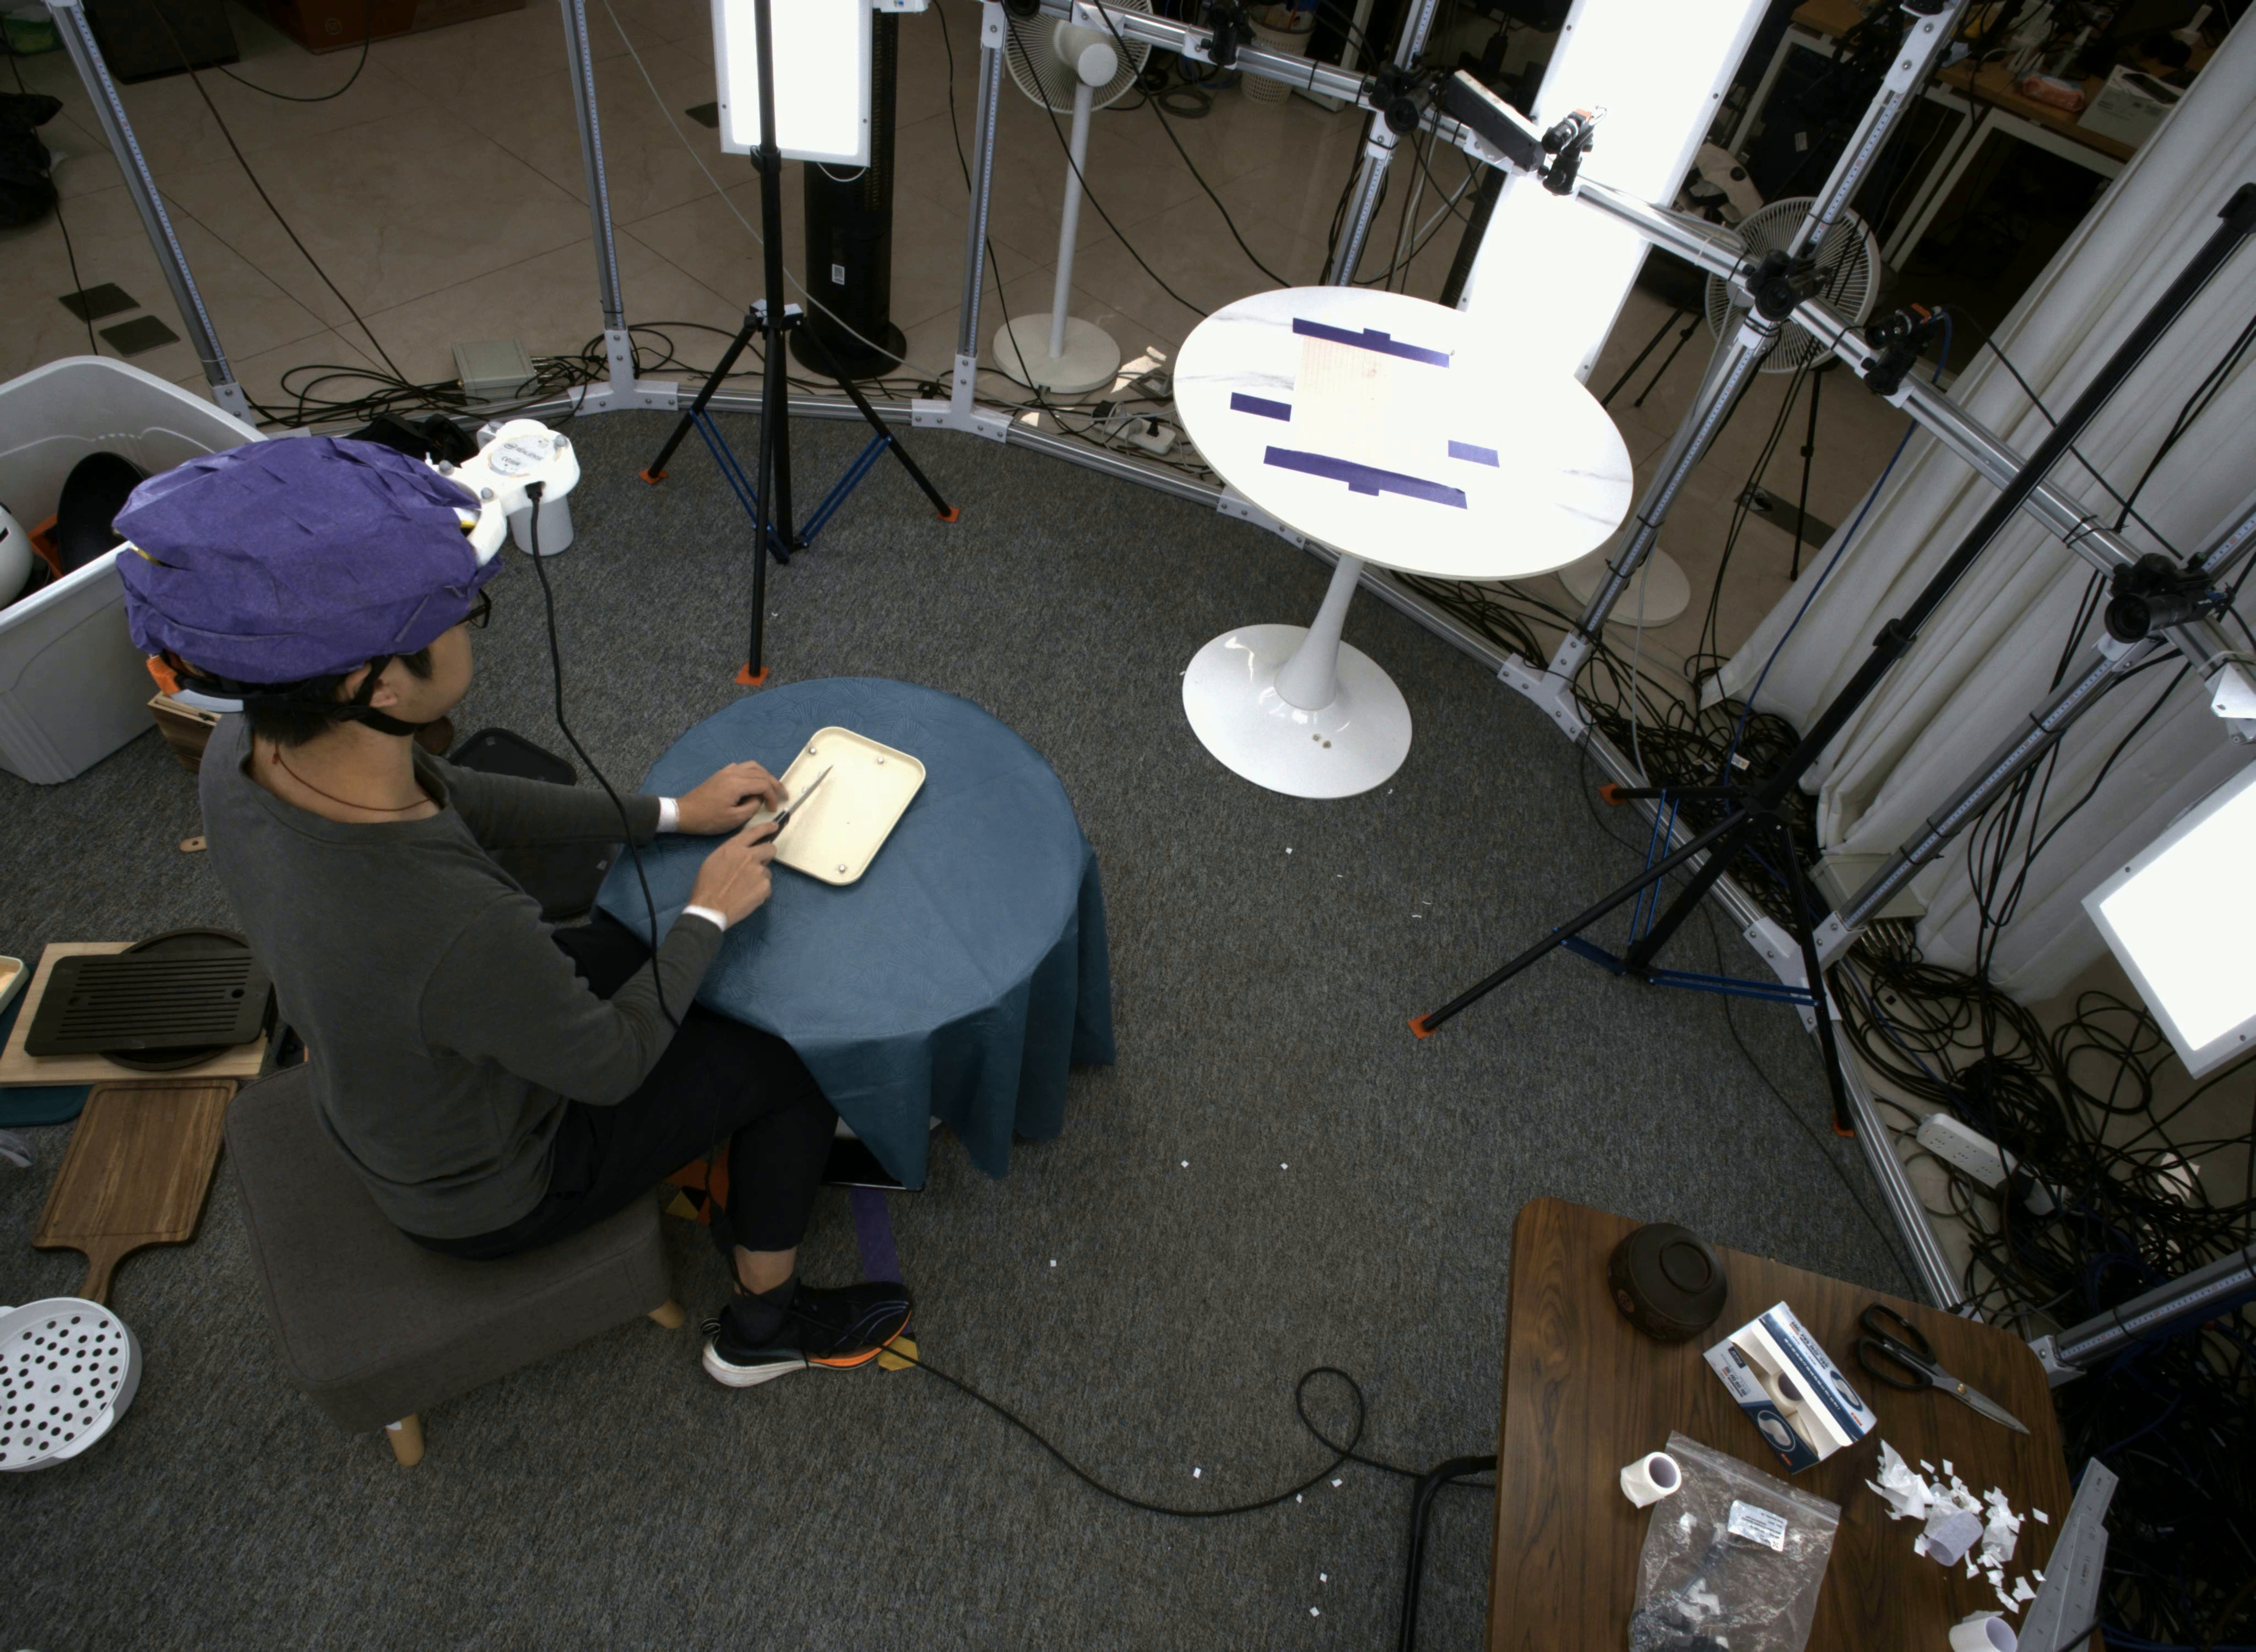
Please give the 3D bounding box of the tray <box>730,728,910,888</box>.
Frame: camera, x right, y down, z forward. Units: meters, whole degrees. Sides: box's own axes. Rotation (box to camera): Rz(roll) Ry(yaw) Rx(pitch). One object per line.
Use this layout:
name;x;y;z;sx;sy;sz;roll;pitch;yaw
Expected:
tray;-0.411;-0.027;1.747;0.169;0.018;0.238;23;52;2

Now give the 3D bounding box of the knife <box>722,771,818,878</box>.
knife;-0.462;-0.011;1.687;0.016;0.025;0.236;29;40;-1
